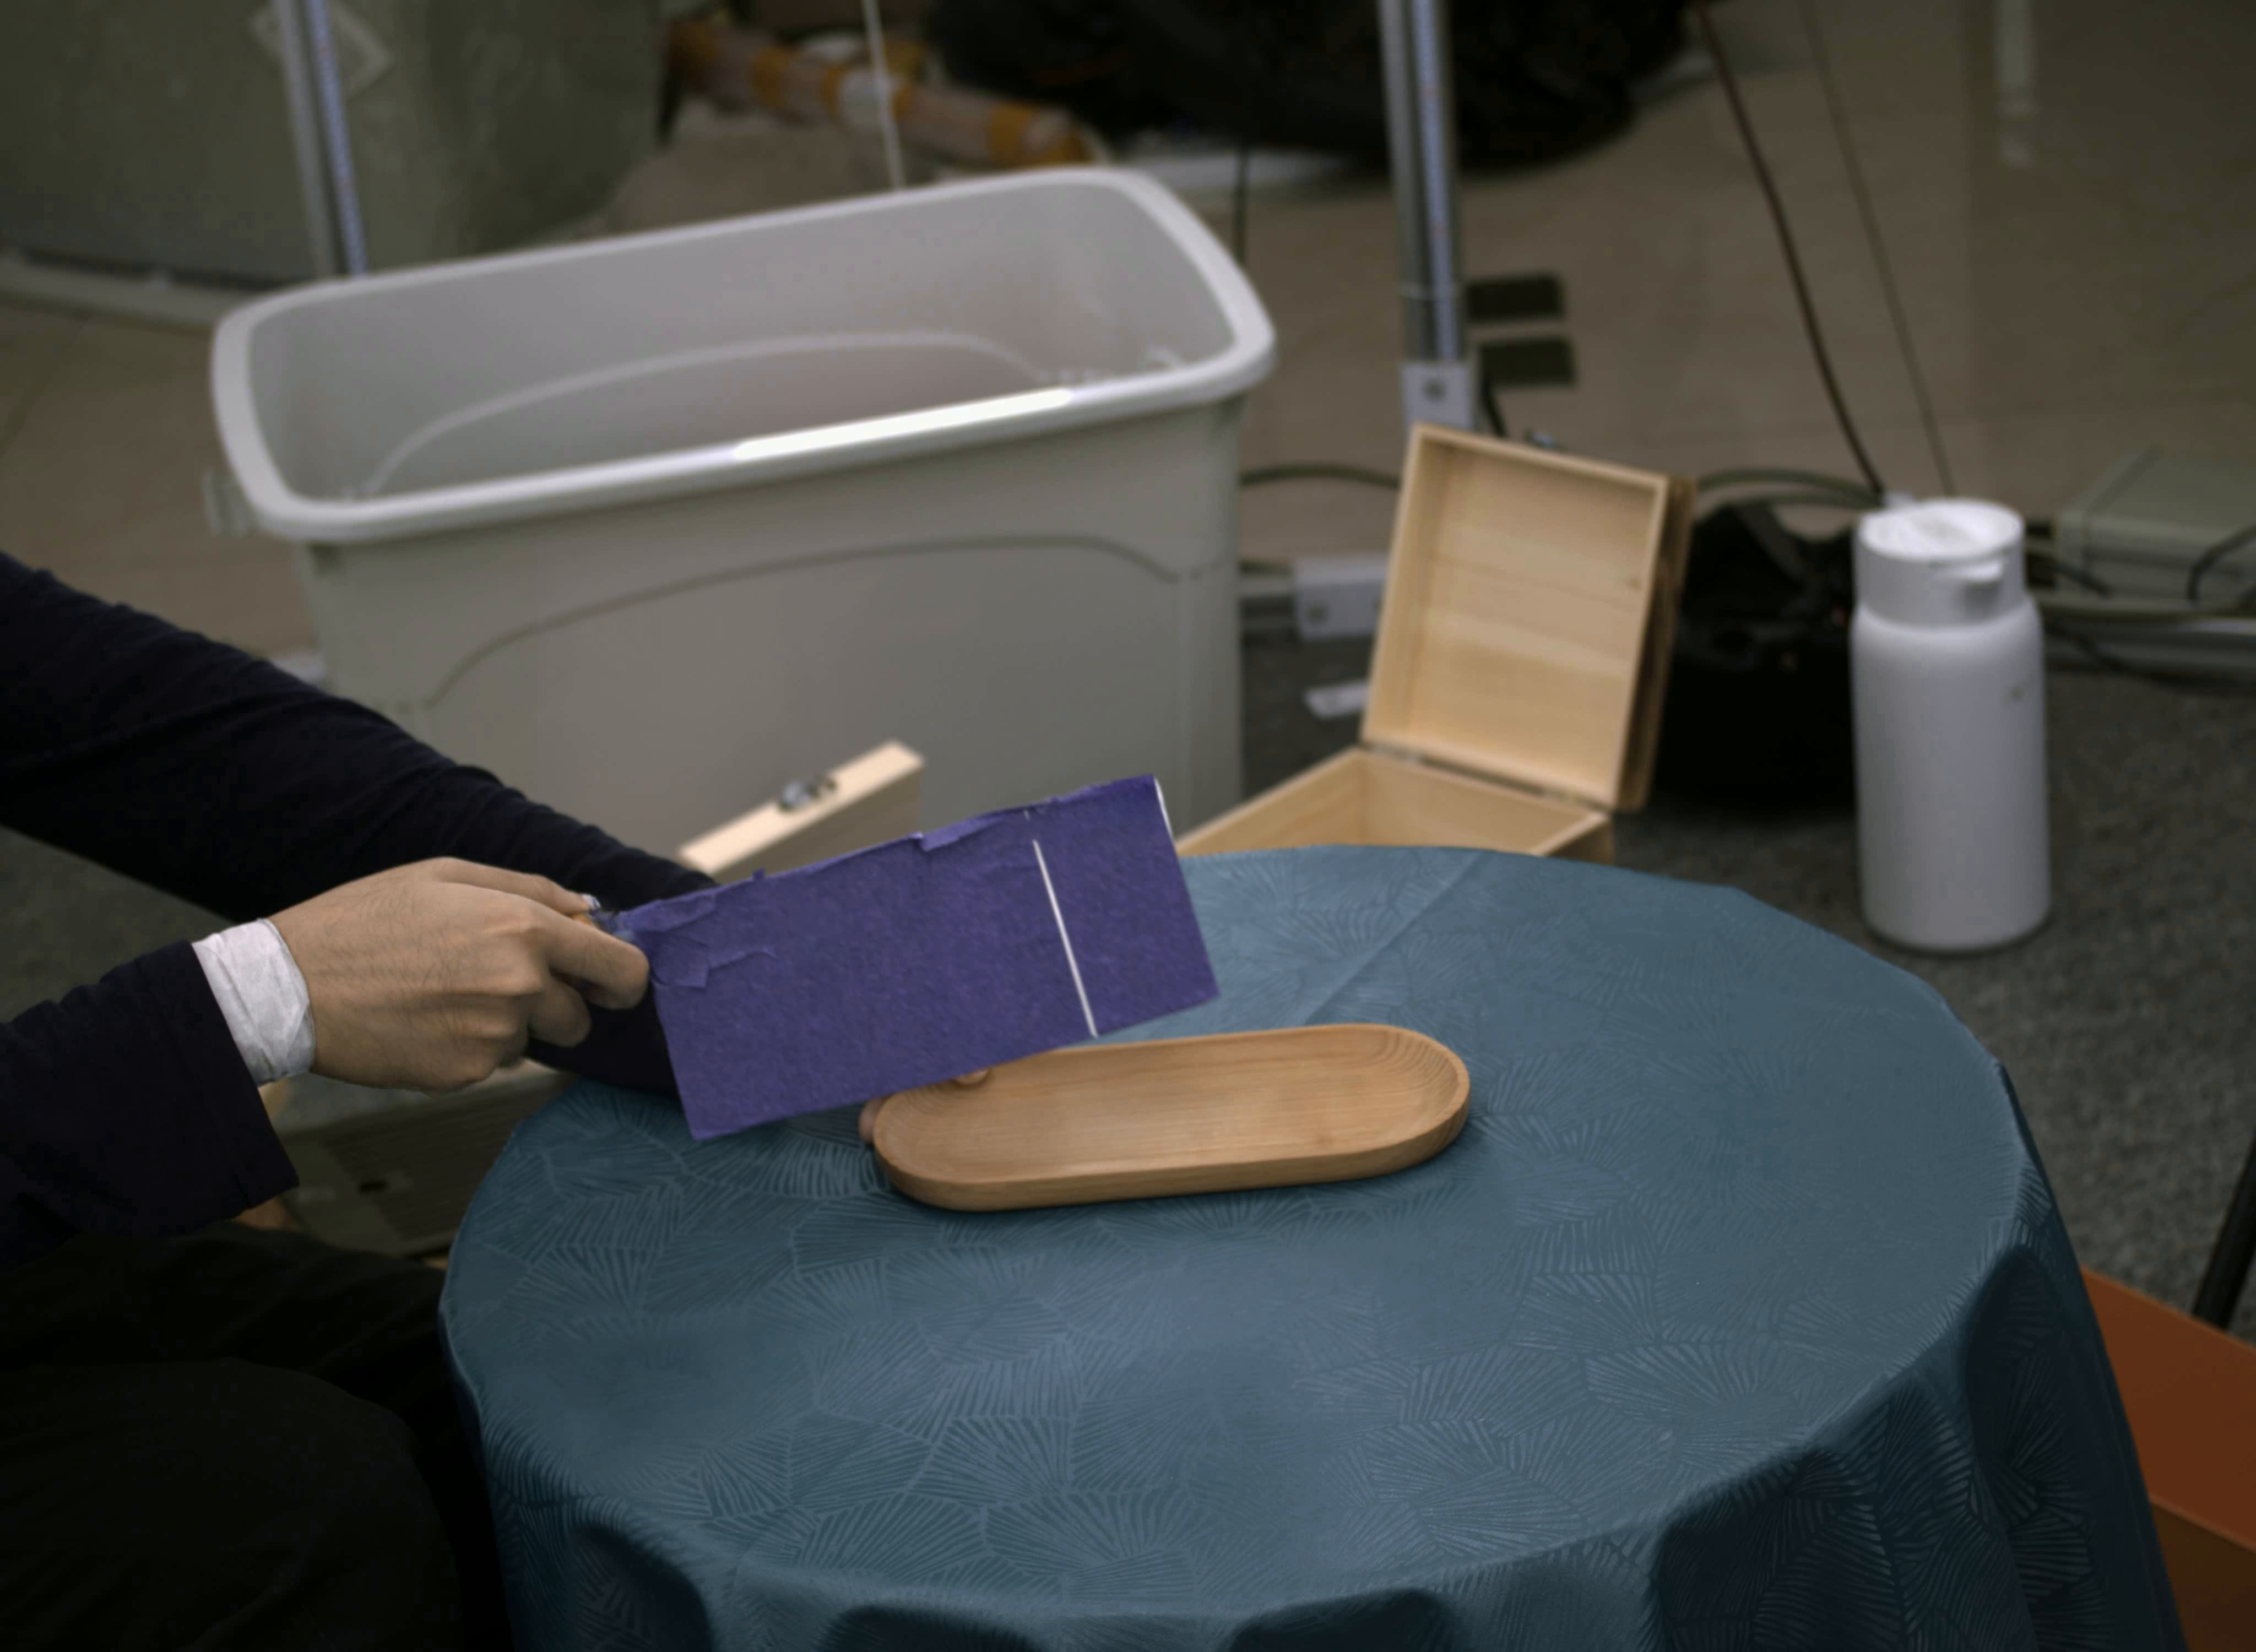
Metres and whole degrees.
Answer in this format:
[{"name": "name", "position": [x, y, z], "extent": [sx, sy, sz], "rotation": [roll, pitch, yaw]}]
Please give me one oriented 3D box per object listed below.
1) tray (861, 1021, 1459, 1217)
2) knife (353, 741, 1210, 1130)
[{"name": "tray", "position": [0.013, 0.113, 2.181], "extent": [0.231, 0.020, 0.100], "rotation": [-7, 26, 2]}, {"name": "knife", "position": [-0.124, 0.057, 2.099], "extent": [0.314, 0.104, 0.032], "rotation": [-16, 2, -10]}]
